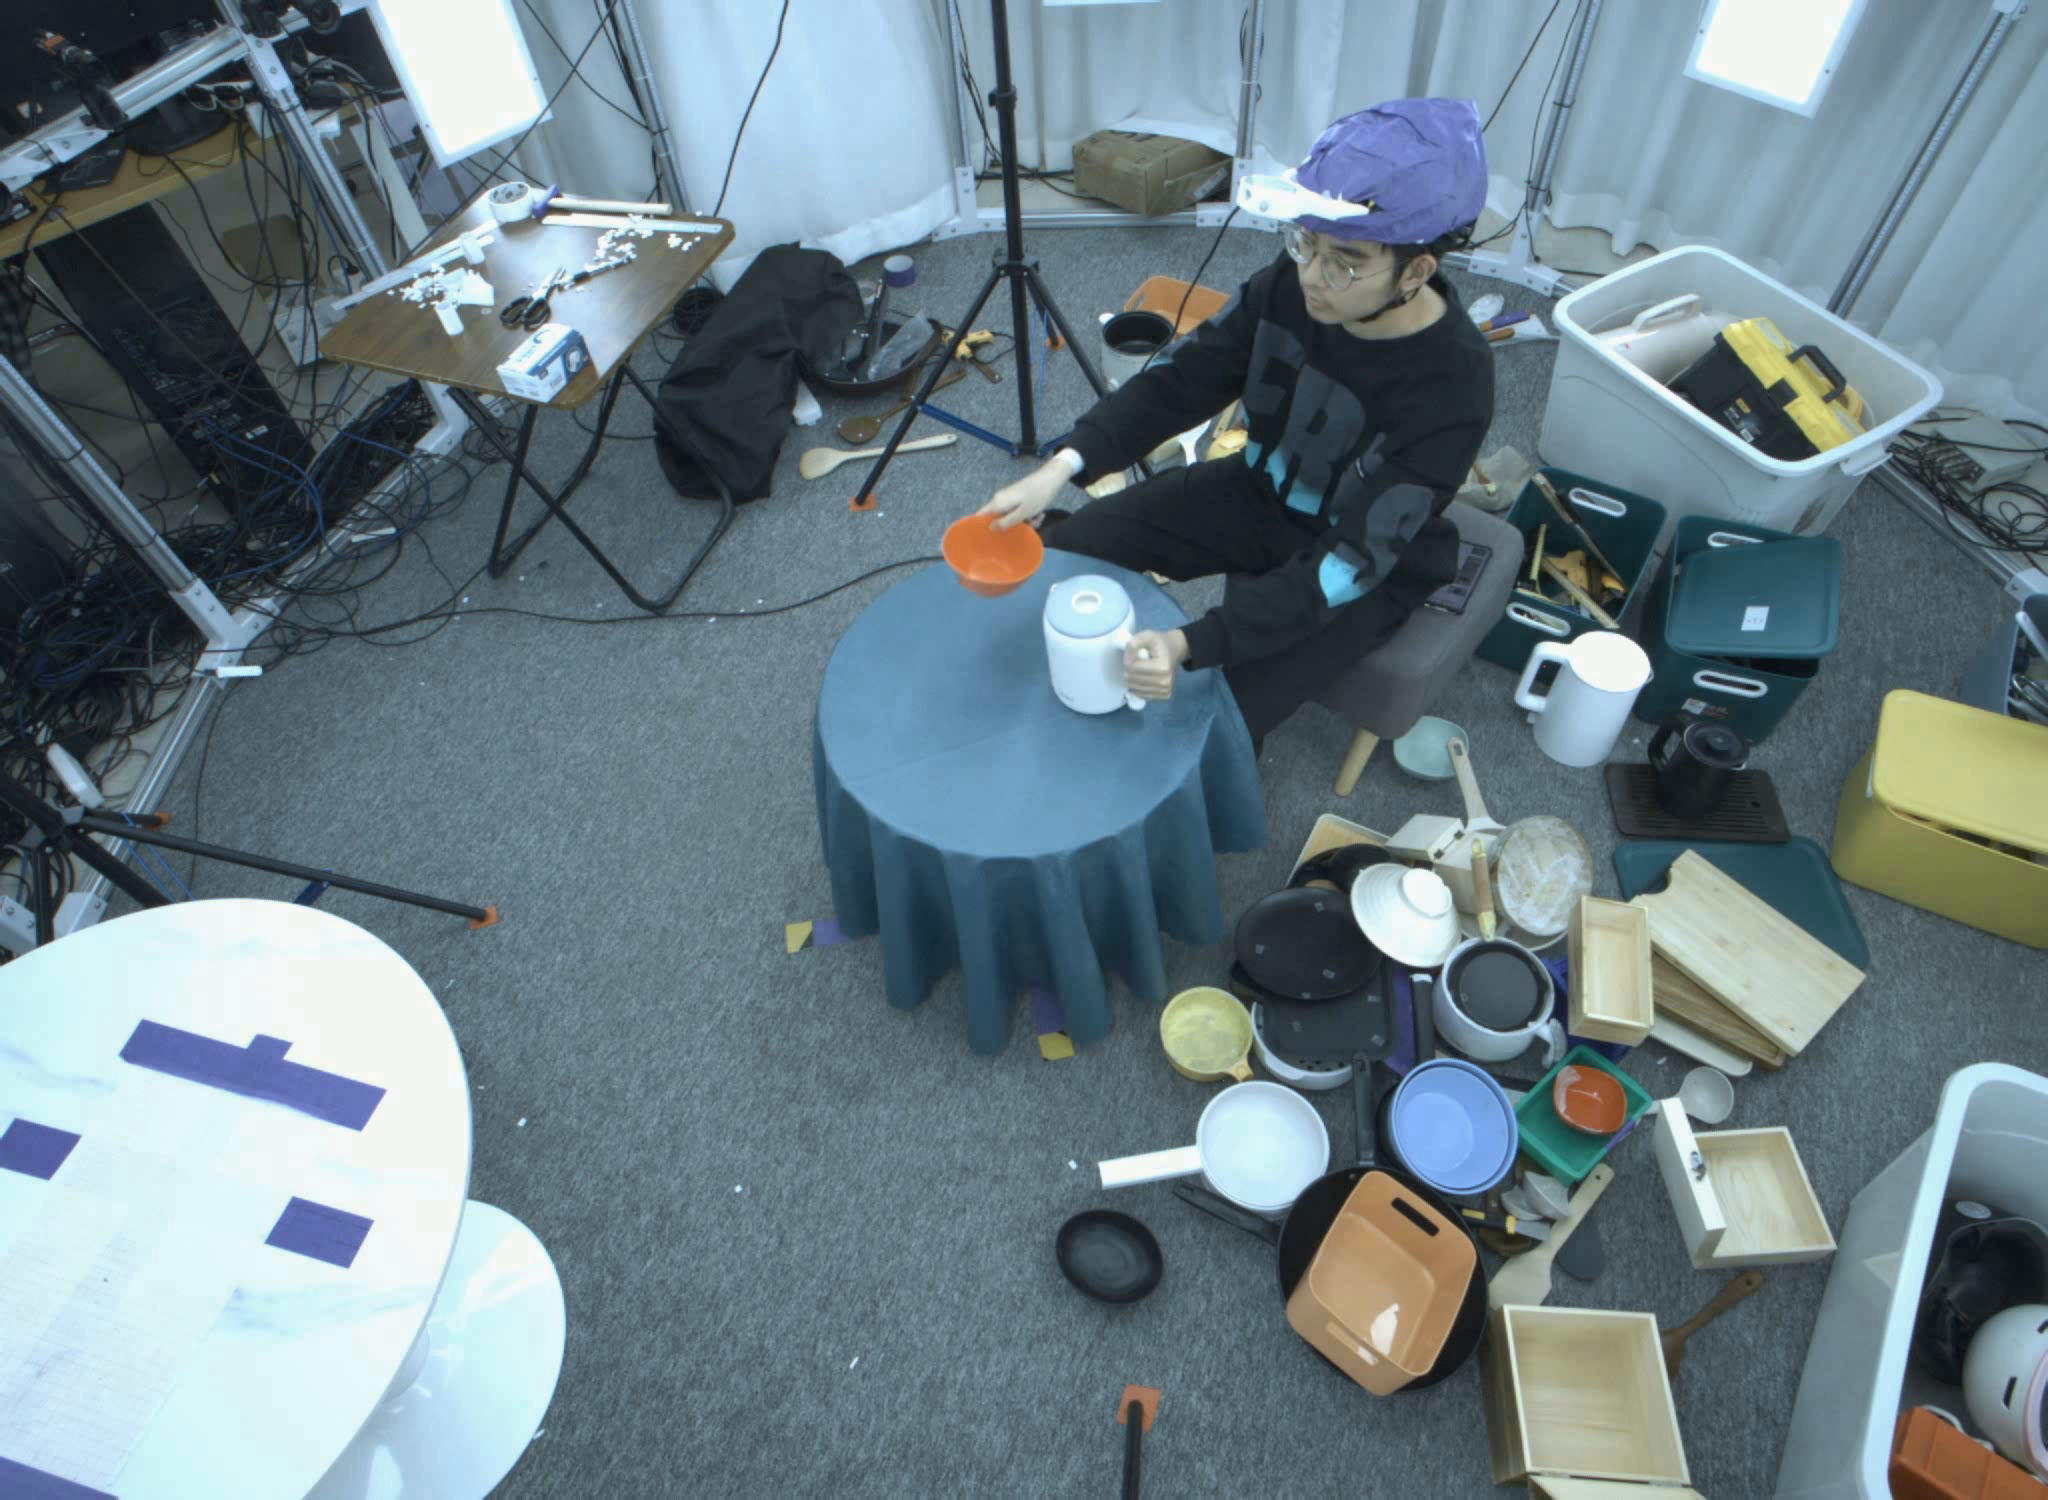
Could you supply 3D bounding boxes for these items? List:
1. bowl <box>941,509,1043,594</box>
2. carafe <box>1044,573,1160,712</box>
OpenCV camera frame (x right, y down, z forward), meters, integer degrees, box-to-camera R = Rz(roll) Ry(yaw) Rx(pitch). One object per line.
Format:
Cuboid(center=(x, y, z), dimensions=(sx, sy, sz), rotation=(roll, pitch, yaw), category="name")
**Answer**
Cuboid(center=(-0.051, -0.274, 1.782), dimensions=(0.149, 0.105, 0.146), rotation=(5, 61, -7), category="bowl")
Cuboid(center=(0.117, -0.142, 1.769), dimensions=(0.188, 0.185, 0.133), rotation=(35, 66, 25), category="carafe")
